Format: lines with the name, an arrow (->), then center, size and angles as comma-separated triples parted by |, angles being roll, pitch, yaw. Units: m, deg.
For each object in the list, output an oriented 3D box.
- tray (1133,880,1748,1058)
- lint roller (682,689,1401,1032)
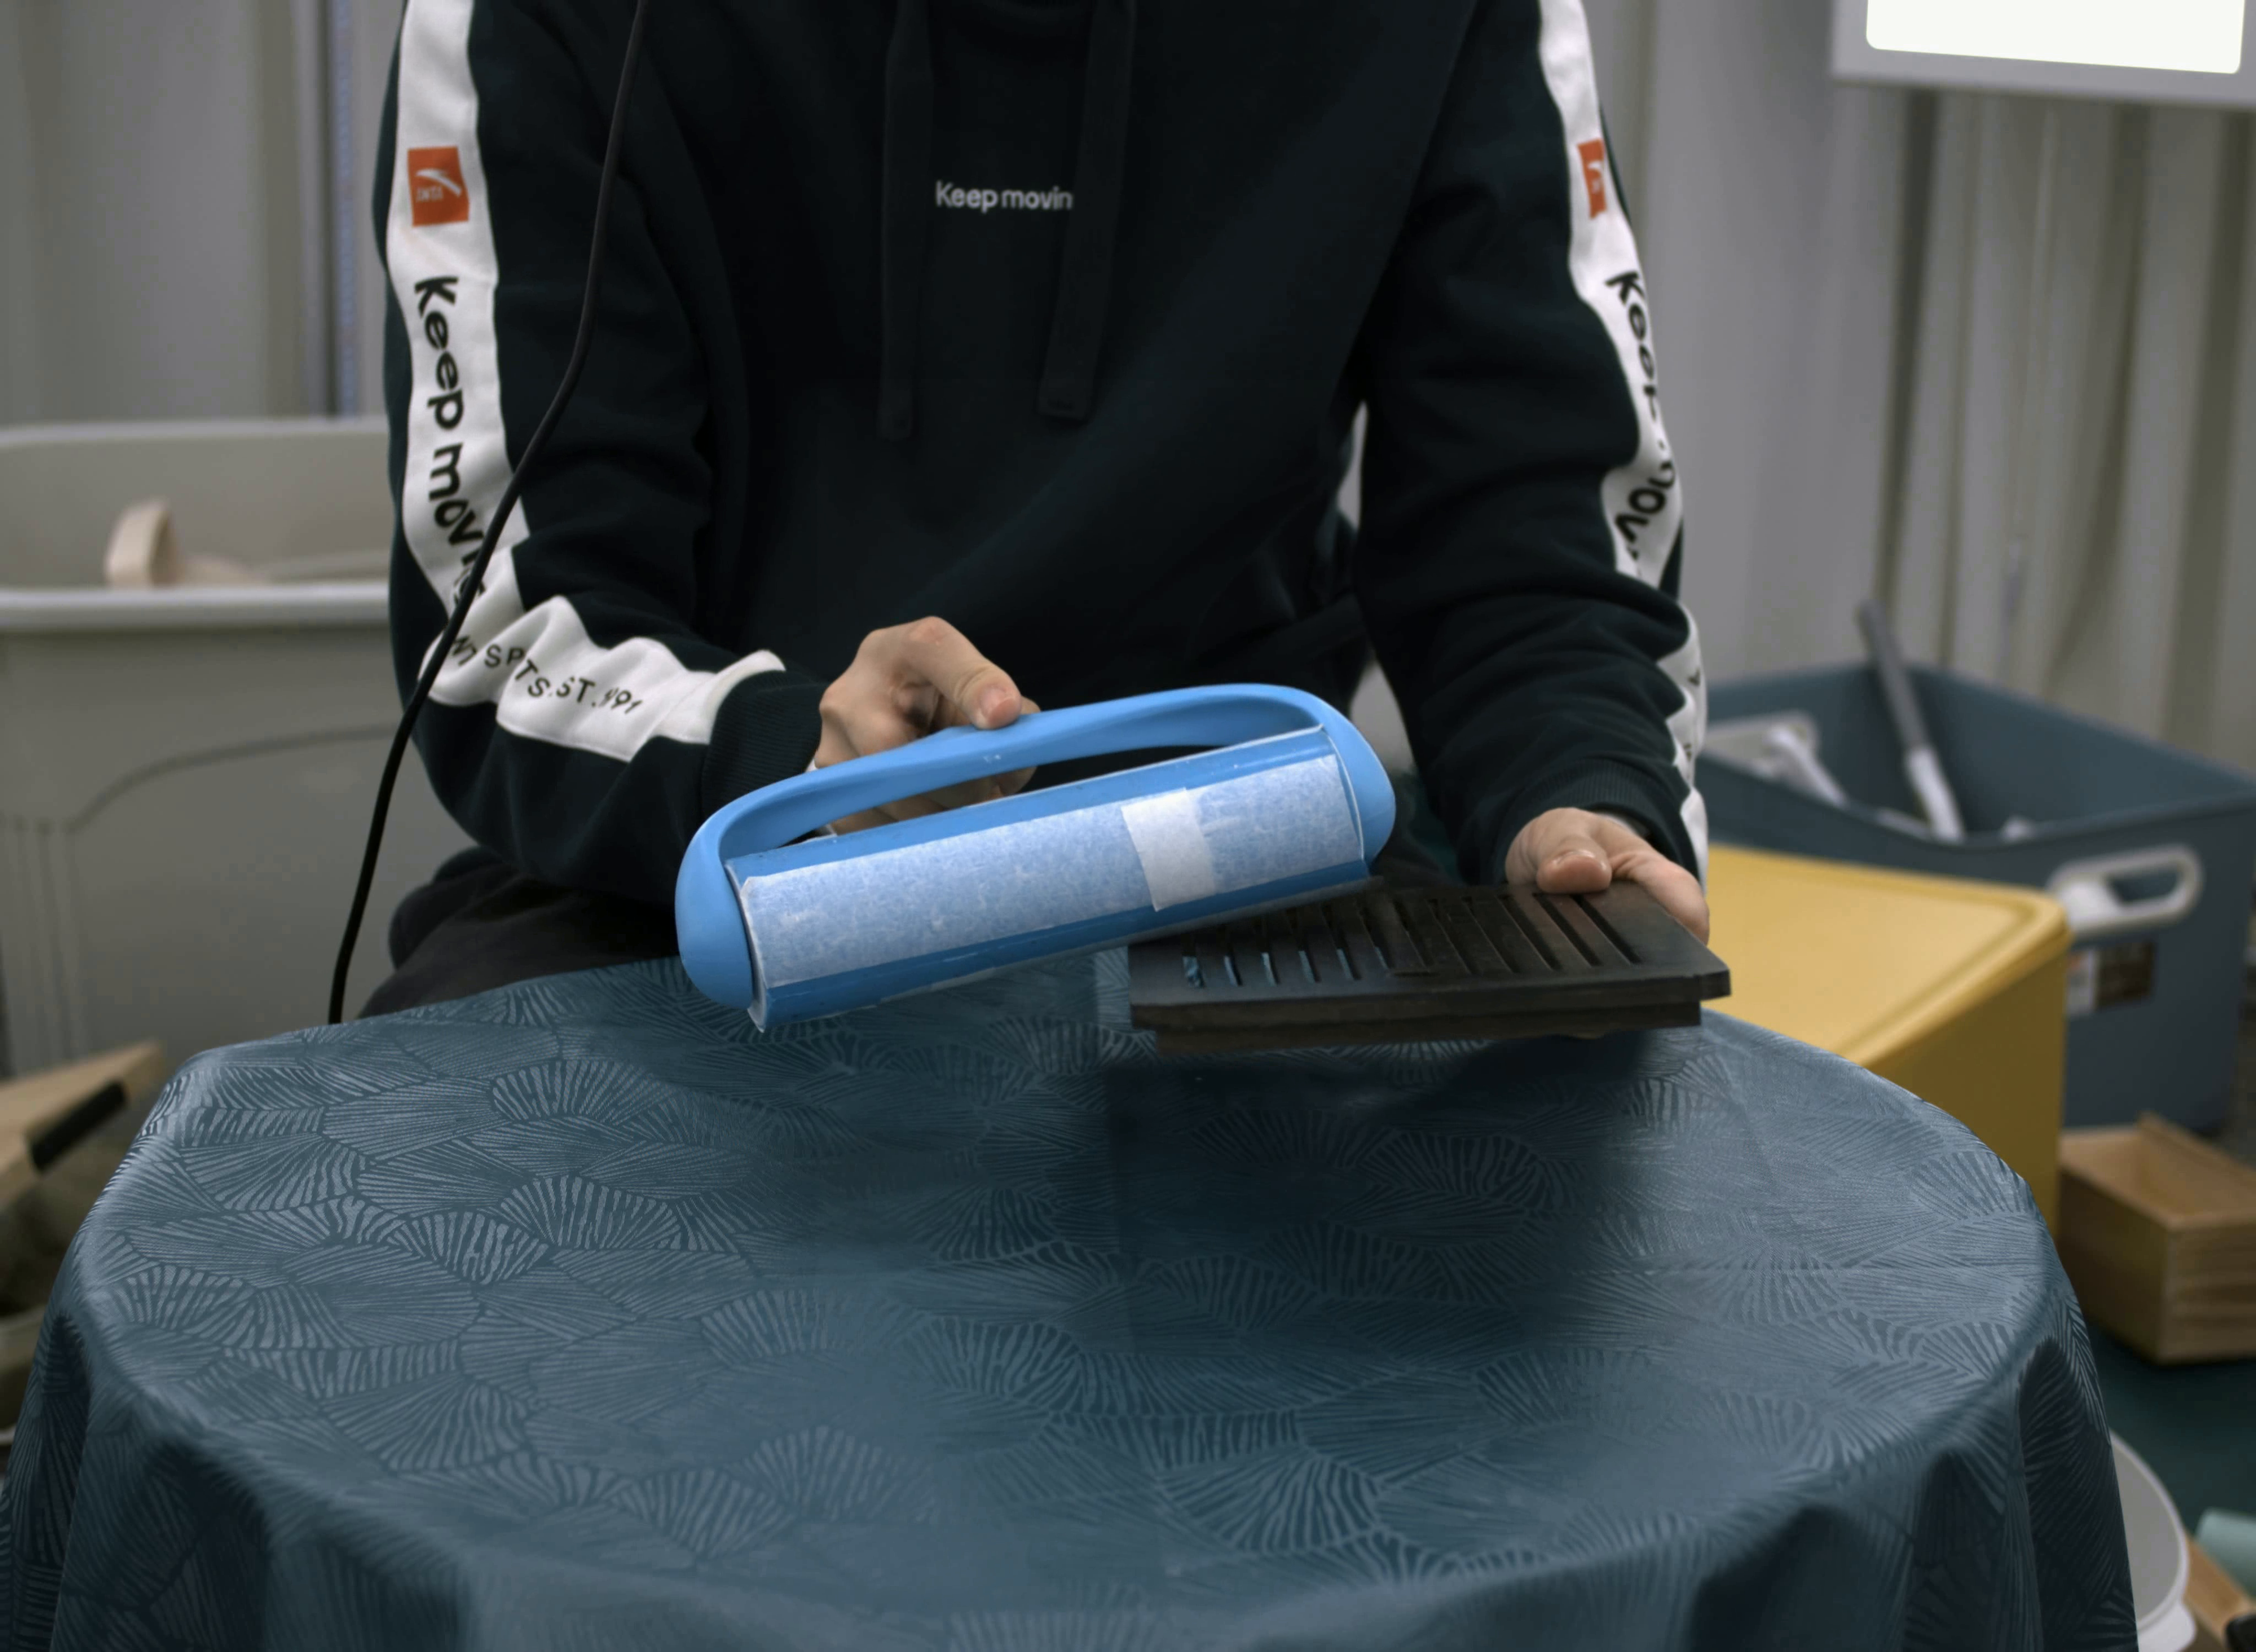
tray -> 0.087, 0.041, 1.604 | 0.169, 0.019, 0.305 | -3, 4, -1
lint roller -> -0.044, 0.000, 1.667 | 0.229, 0.068, 0.178 | -15, 19, -16
